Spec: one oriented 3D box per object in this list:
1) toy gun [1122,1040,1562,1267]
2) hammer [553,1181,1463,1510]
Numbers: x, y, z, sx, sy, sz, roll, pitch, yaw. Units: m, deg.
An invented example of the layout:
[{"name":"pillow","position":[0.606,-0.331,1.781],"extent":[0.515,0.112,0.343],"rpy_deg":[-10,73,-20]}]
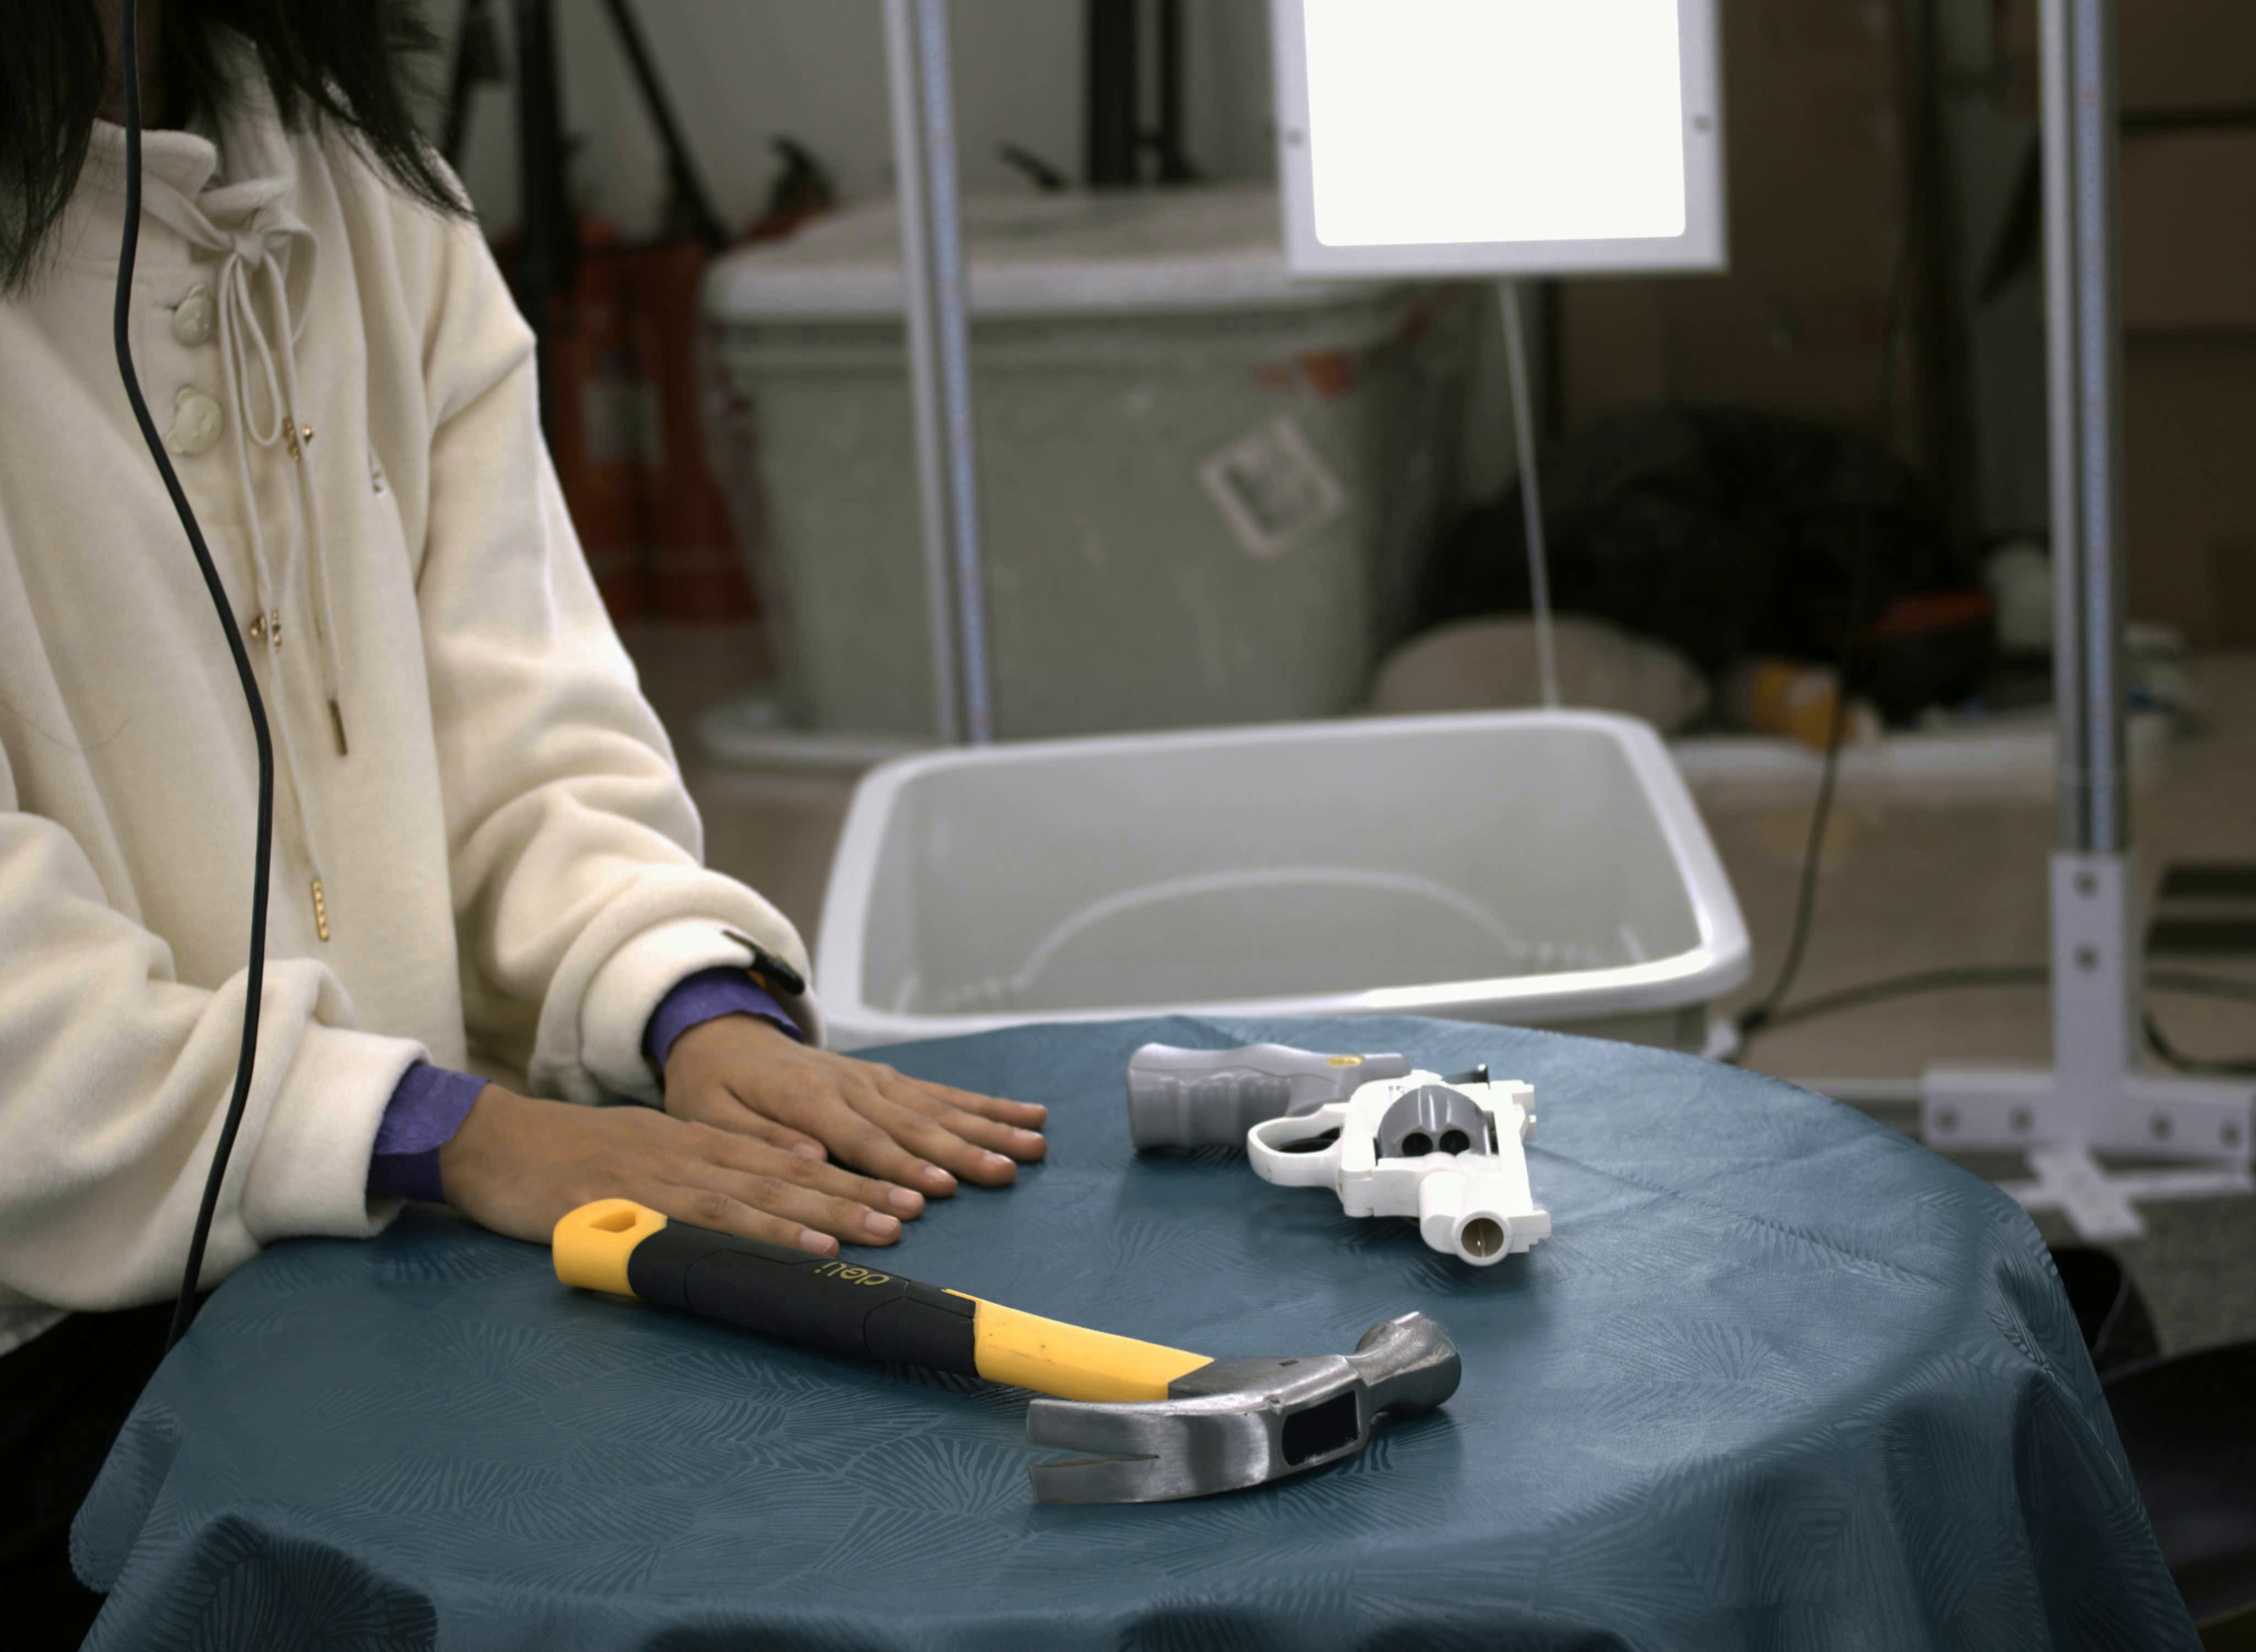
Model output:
[{"name":"toy gun","position":[0.070,0.109,1.862],"extent":[0.141,0.039,0.208],"rpy_deg":[-4,14,1]},{"name":"hammer","position":[-0.062,0.154,1.733],"extent":[0.128,0.032,0.346],"rpy_deg":[-20,21,-41]}]
